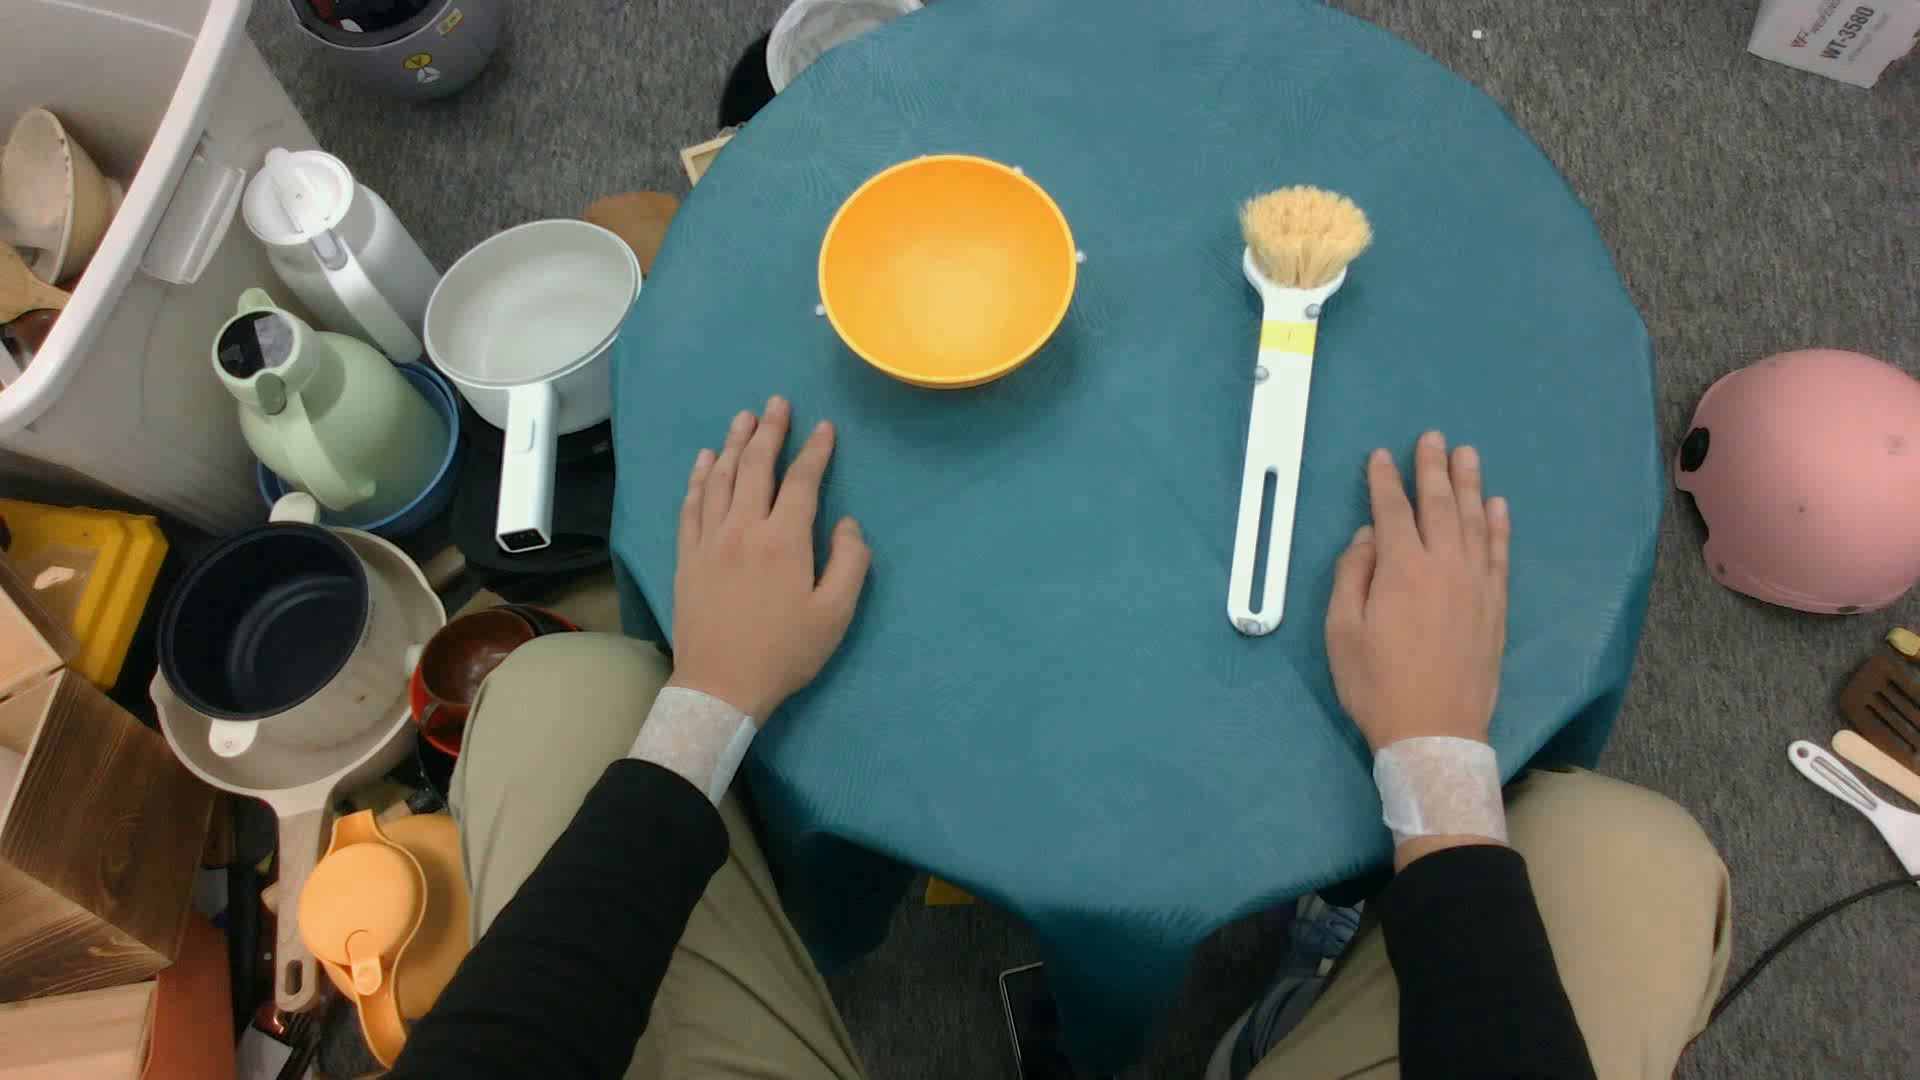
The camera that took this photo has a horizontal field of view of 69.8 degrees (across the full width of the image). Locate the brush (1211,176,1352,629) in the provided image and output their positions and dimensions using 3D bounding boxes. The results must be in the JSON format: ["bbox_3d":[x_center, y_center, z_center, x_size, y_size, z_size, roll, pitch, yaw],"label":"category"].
[{"bbox_3d":[0.172,-0.084,0.767,0.068,0.056,0.267,8,72,10],"label":"brush"}]

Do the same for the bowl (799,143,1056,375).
[{"bbox_3d":[-0.017,-0.152,0.794,0.145,0.060,0.145,-1,71,3],"label":"bowl"}]
